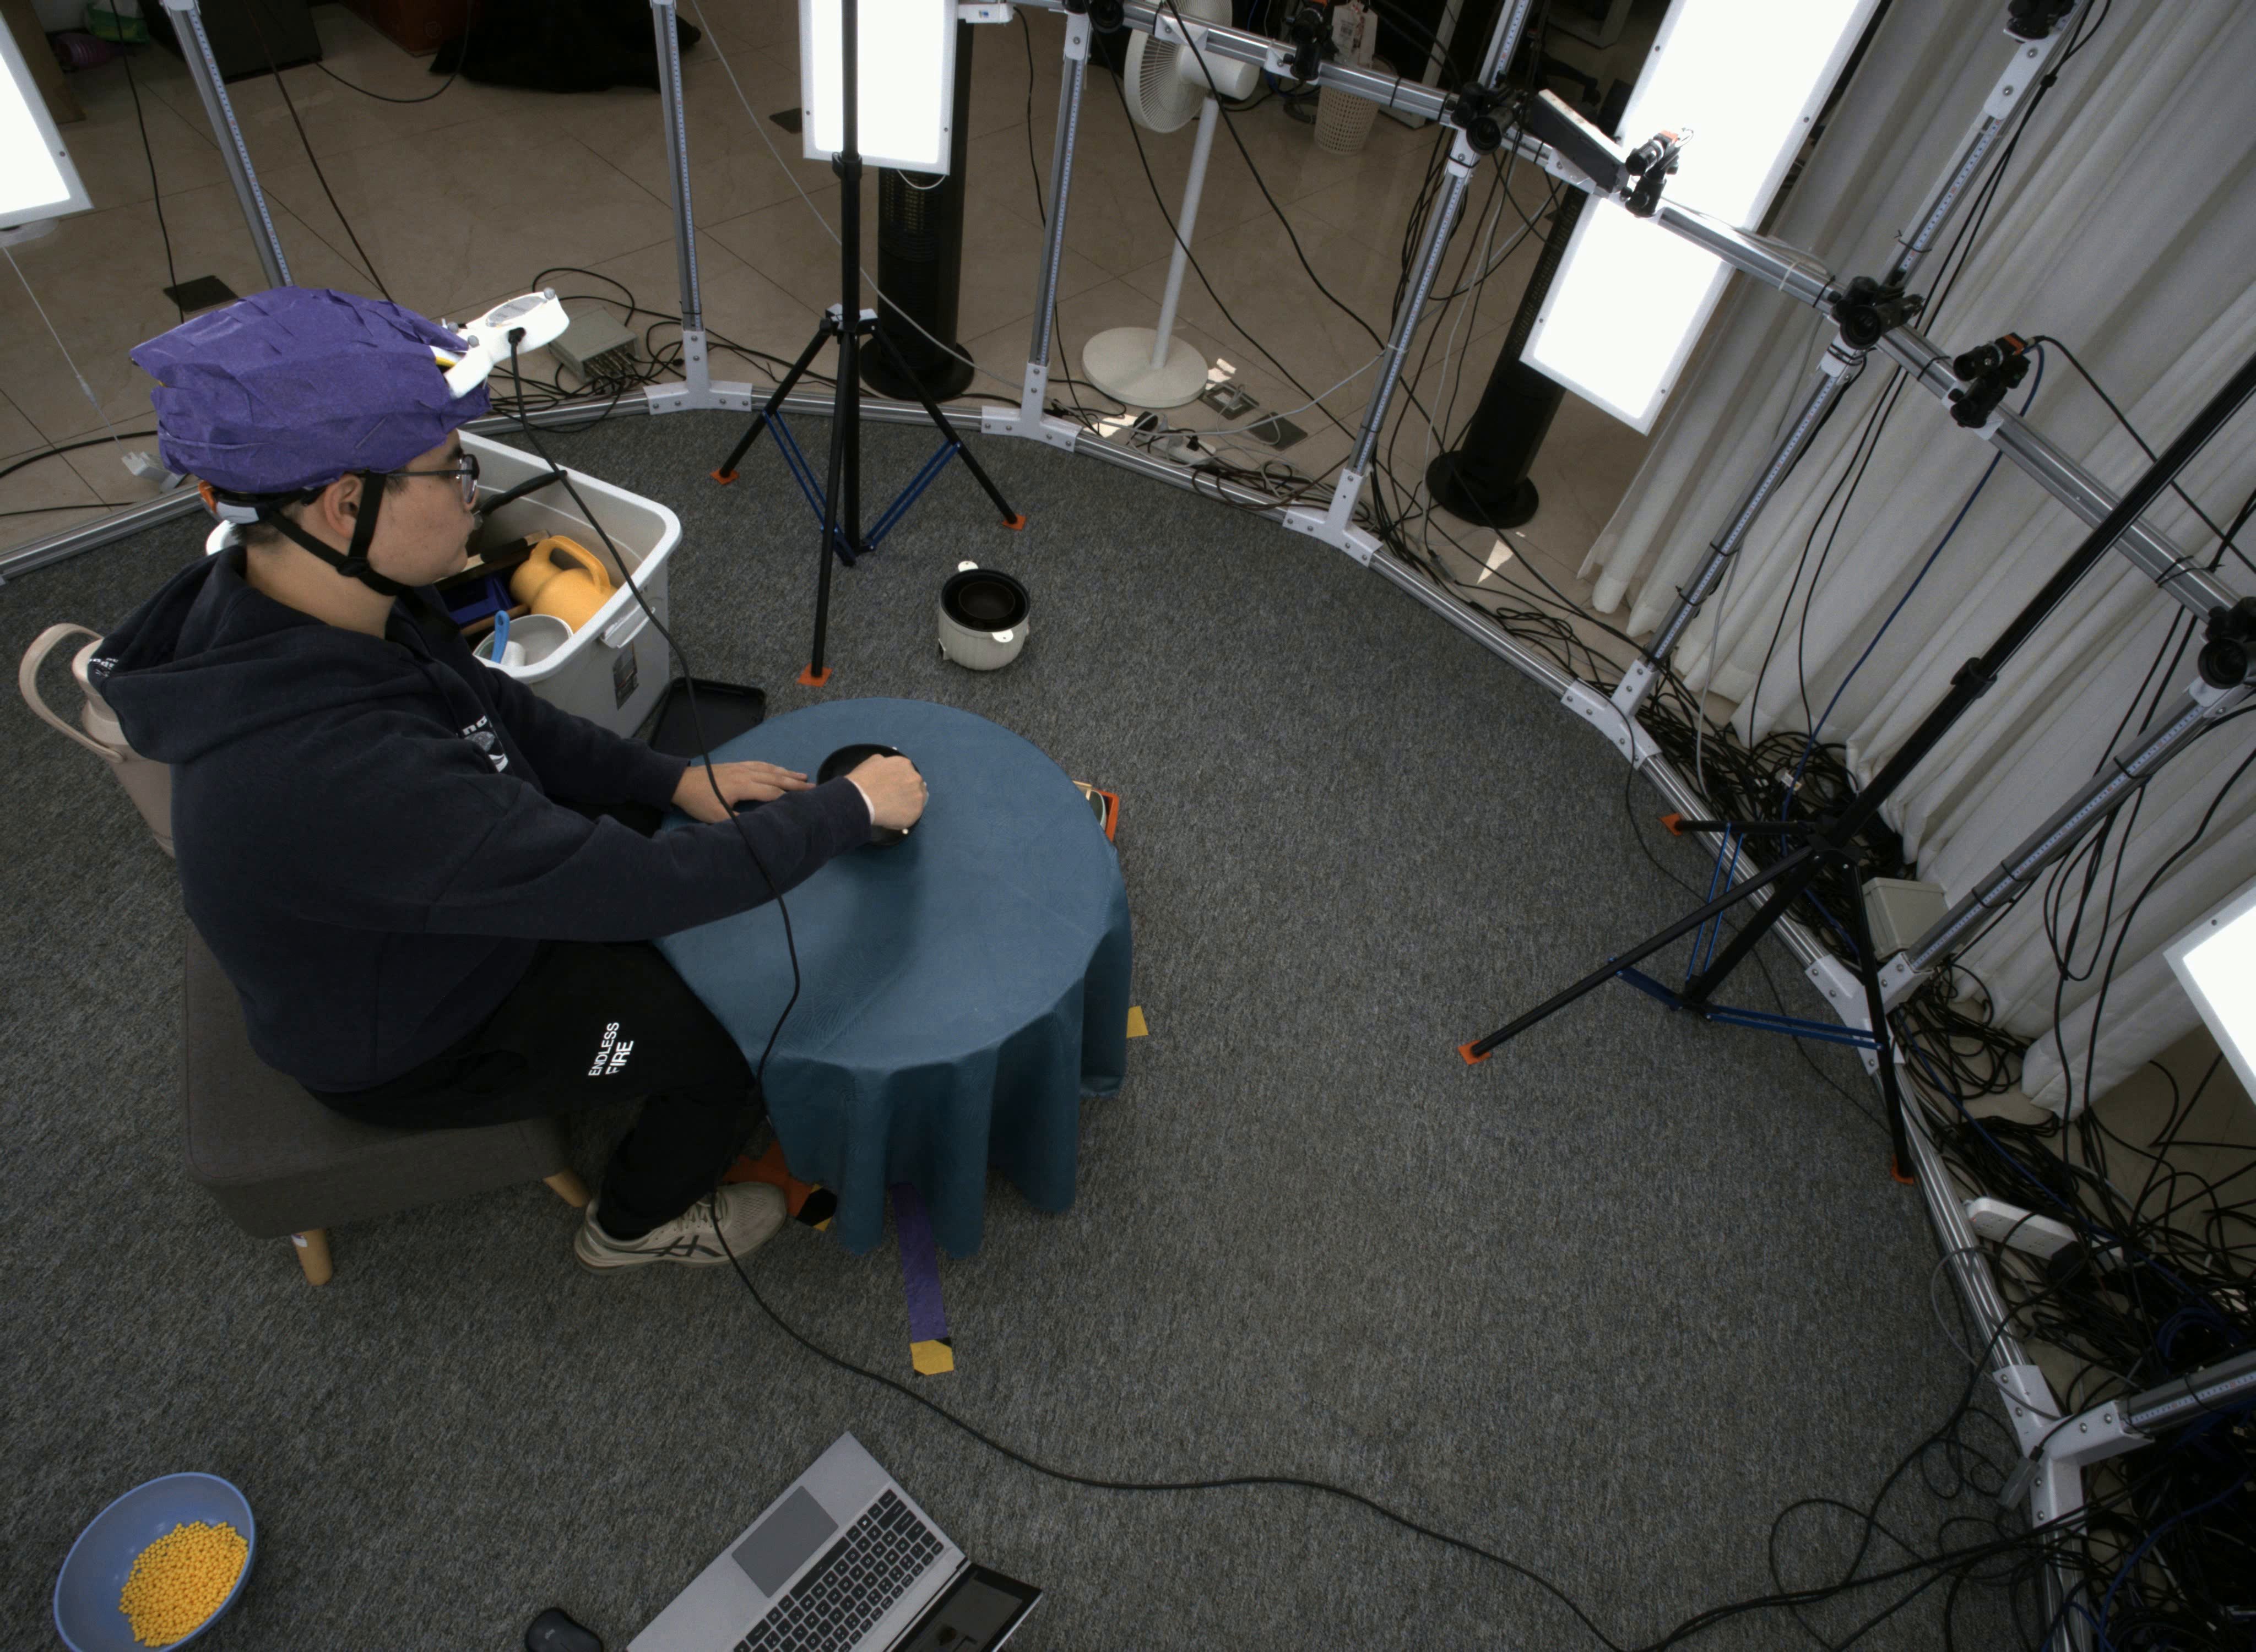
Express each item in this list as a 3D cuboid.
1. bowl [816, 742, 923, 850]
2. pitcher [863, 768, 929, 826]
[{"bbox_3d":[-0.340,-0.032,1.725,0.138,0.068,0.166,-19,61,-24],"label":"bowl"},{"bbox_3d":[-0.290,-0.037,1.624,0.086,0.106,0.061,-20,92,-23],"label":"pitcher"}]
